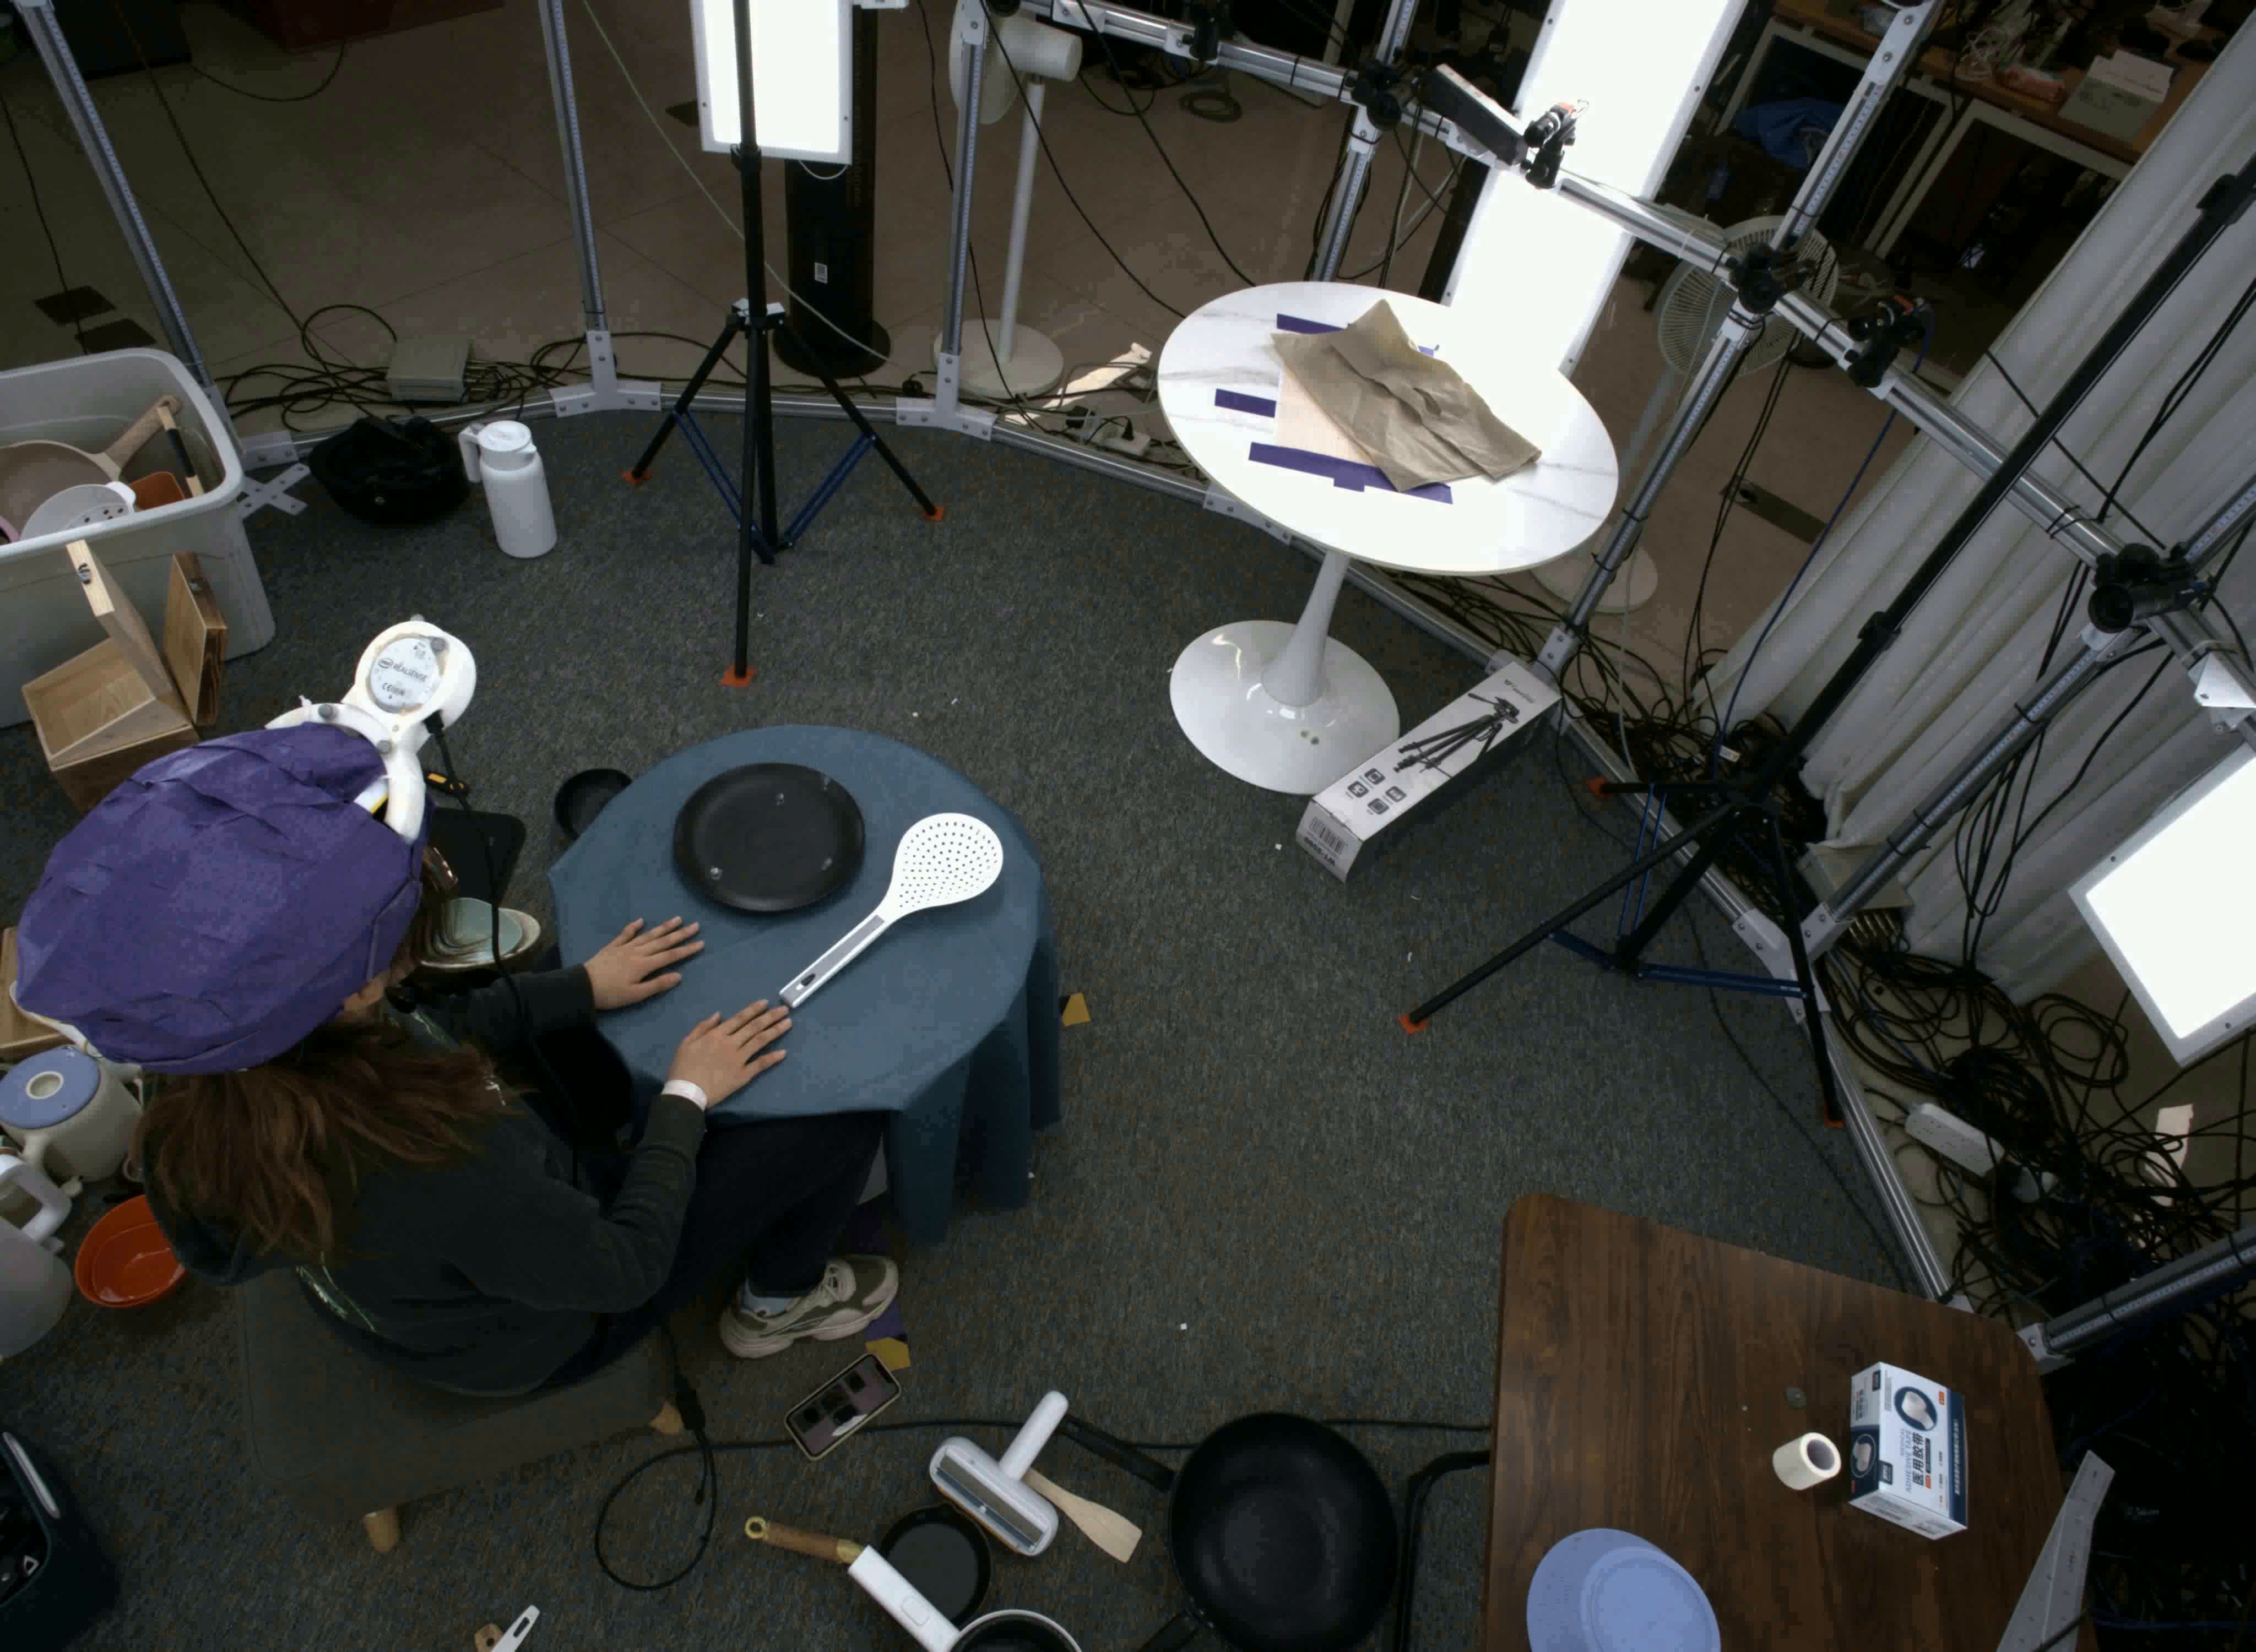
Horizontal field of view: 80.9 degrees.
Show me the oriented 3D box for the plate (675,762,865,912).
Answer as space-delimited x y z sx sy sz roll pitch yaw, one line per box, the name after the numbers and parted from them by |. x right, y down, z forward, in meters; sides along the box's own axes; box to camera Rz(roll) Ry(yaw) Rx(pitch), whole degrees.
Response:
-0.466 0.015 1.692 0.244 0.024 0.240 8 53 -9 | plate

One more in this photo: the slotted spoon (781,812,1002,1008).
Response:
-0.302 0.106 1.652 0.133 0.047 0.350 37 55 17 | slotted spoon
